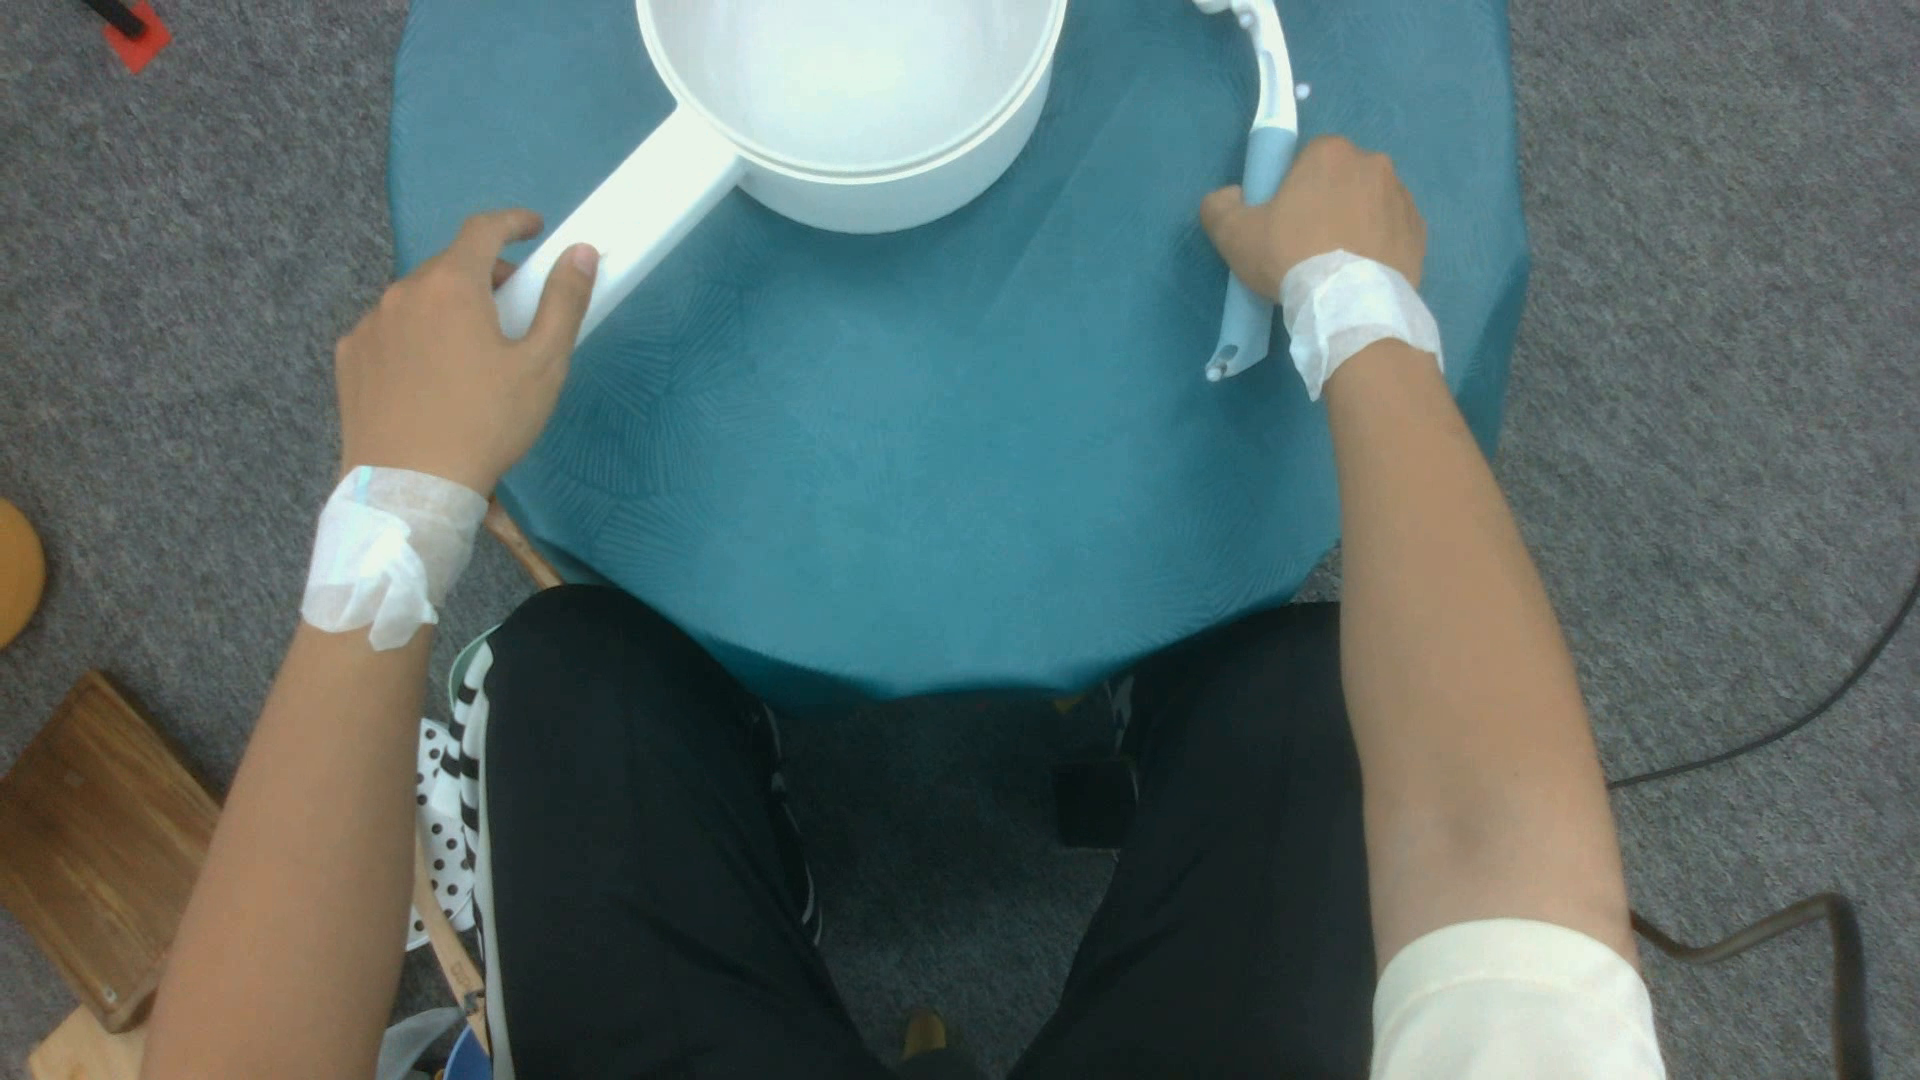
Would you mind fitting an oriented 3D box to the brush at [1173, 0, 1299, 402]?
[{"bbox_3d":[0.141,-0.232,0.700,0.084,0.083,0.326,10,77,1],"label":"brush"}]

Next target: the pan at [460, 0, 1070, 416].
[{"bbox_3d":[-0.097,-0.195,0.695,0.201,0.102,0.355,42,84,7],"label":"pan"}]
